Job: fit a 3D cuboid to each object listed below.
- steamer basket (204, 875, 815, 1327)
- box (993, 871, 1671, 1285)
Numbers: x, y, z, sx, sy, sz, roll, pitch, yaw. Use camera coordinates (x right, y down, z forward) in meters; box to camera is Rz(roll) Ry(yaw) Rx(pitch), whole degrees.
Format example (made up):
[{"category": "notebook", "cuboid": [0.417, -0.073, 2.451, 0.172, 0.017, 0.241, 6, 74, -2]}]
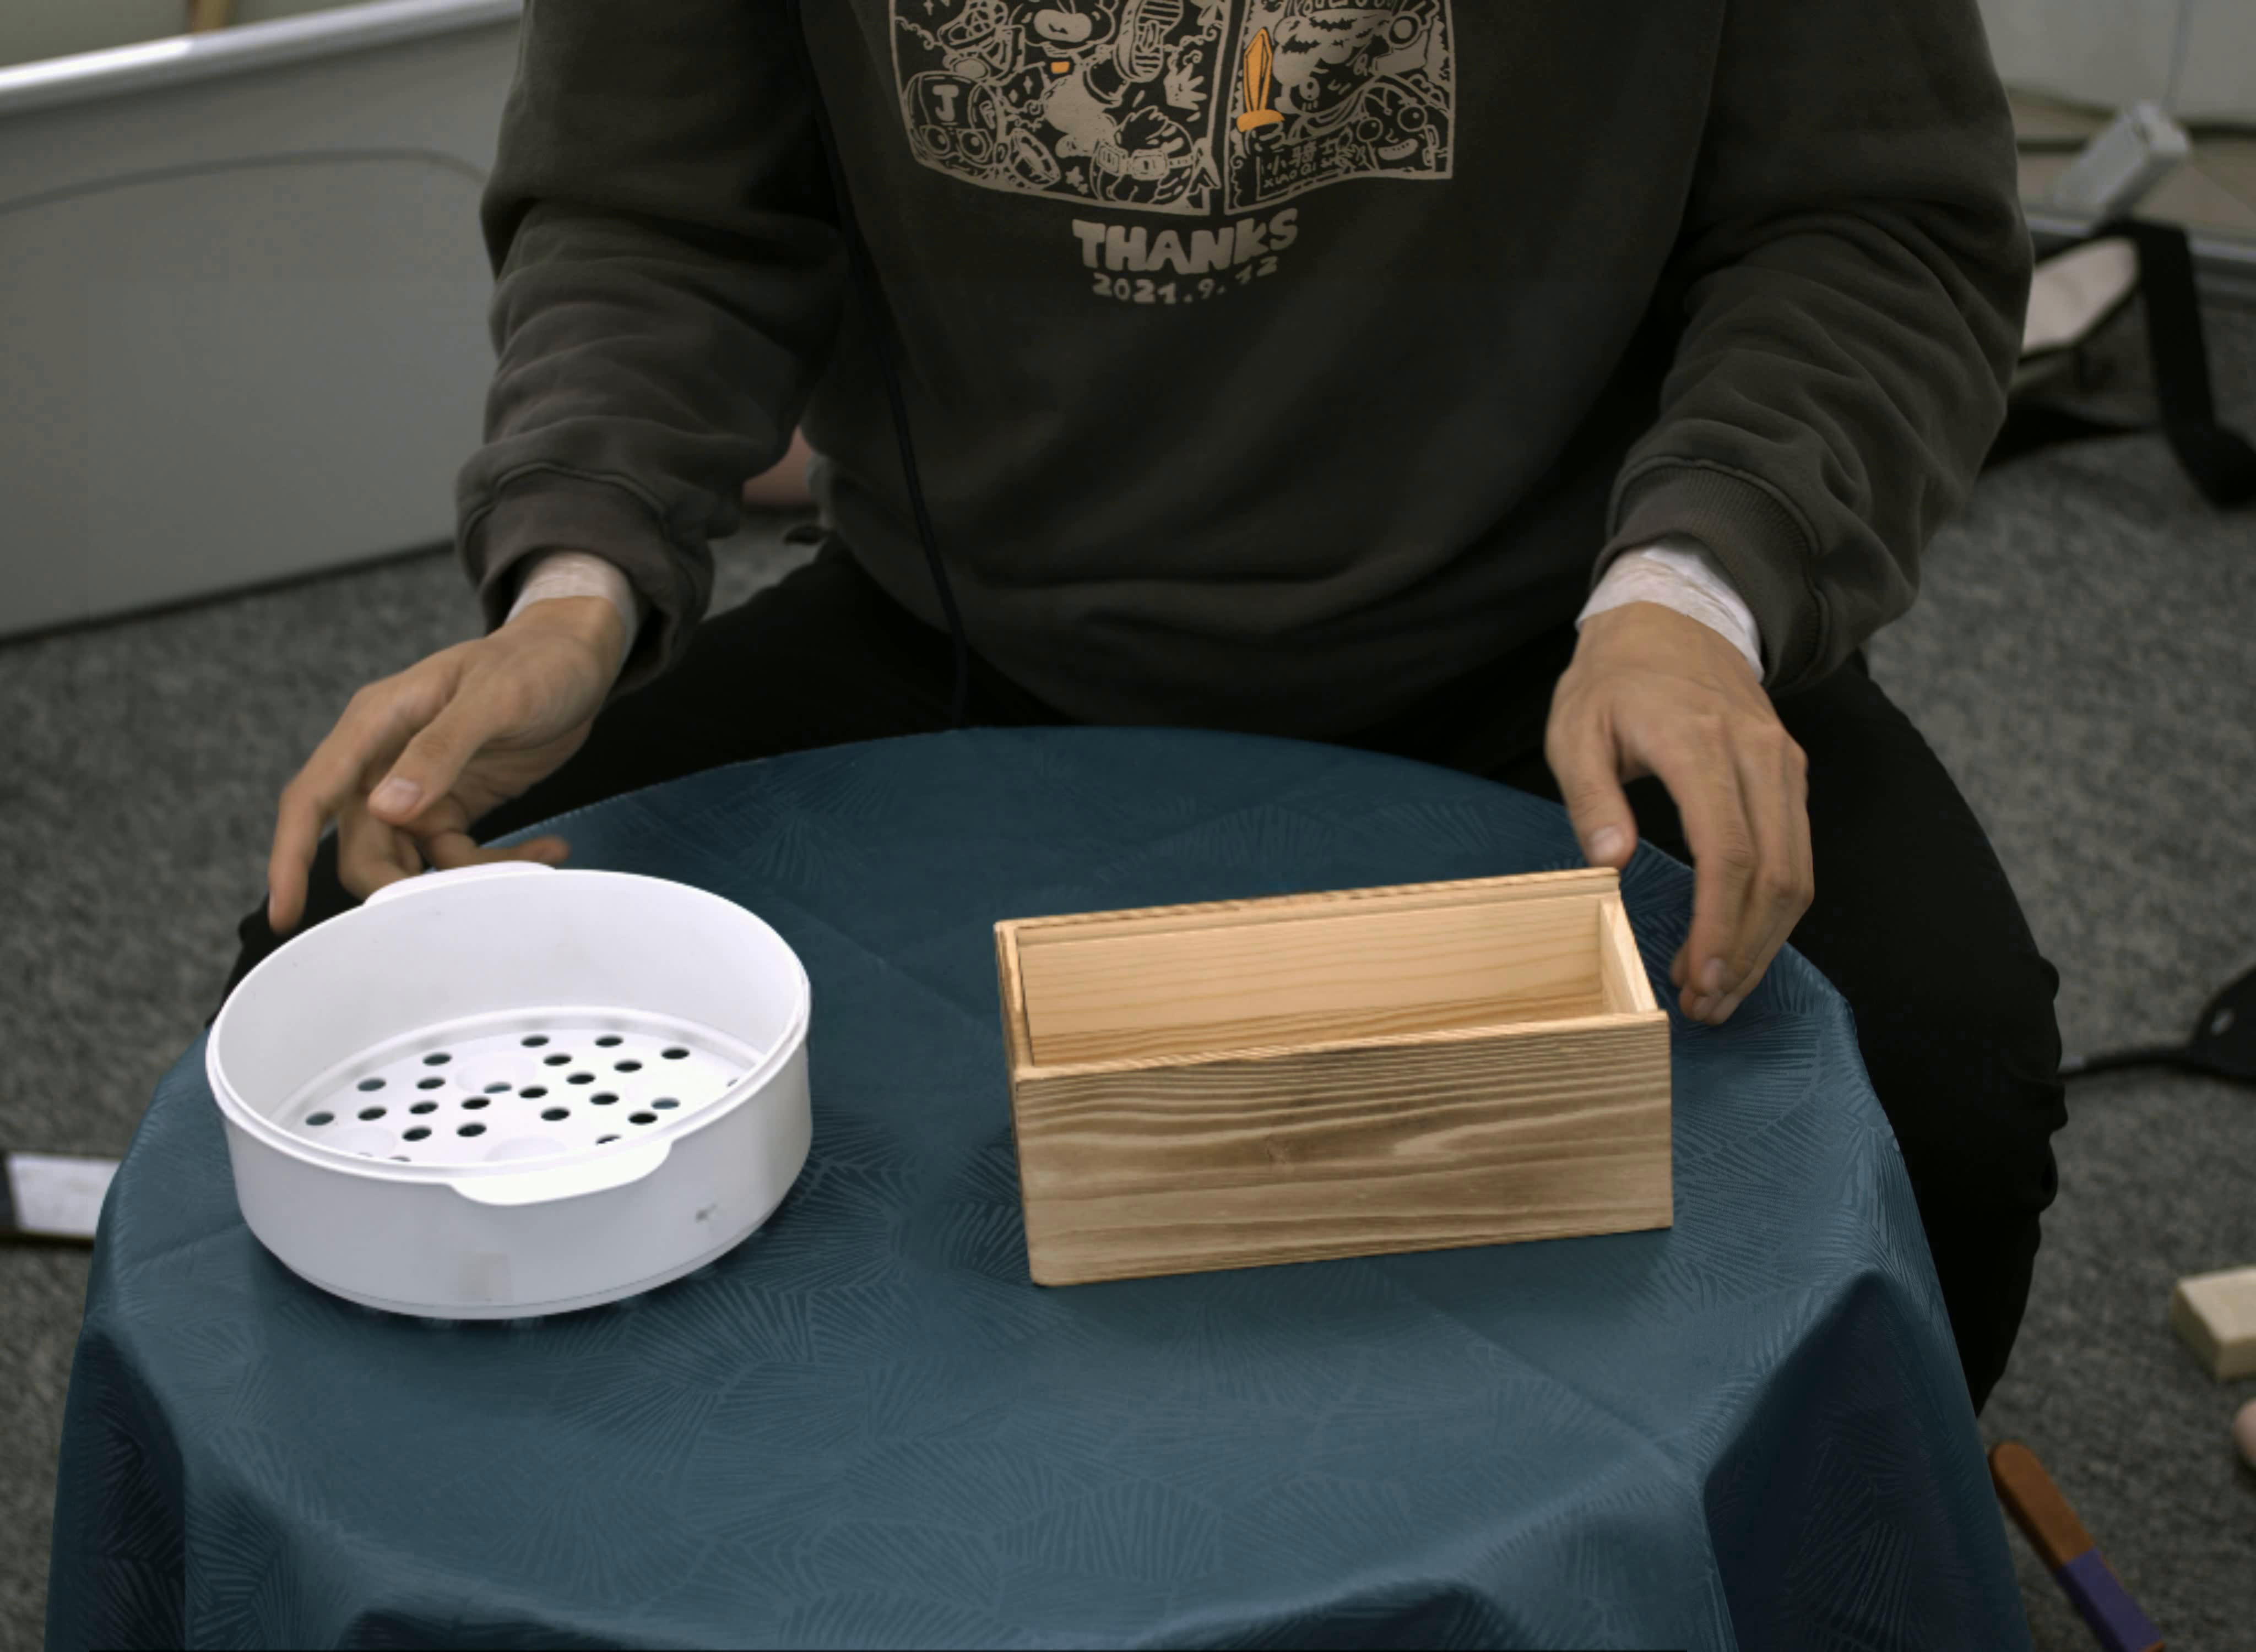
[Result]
[{"category": "steamer basket", "cuboid": [-0.202, 0.093, 1.864, 0.202, 0.068, 0.233, -9, 27, -13]}, {"category": "box", "cuboid": [0.065, 0.082, 1.845, 0.211, 0.079, 0.109, -5, 27, -4]}]
